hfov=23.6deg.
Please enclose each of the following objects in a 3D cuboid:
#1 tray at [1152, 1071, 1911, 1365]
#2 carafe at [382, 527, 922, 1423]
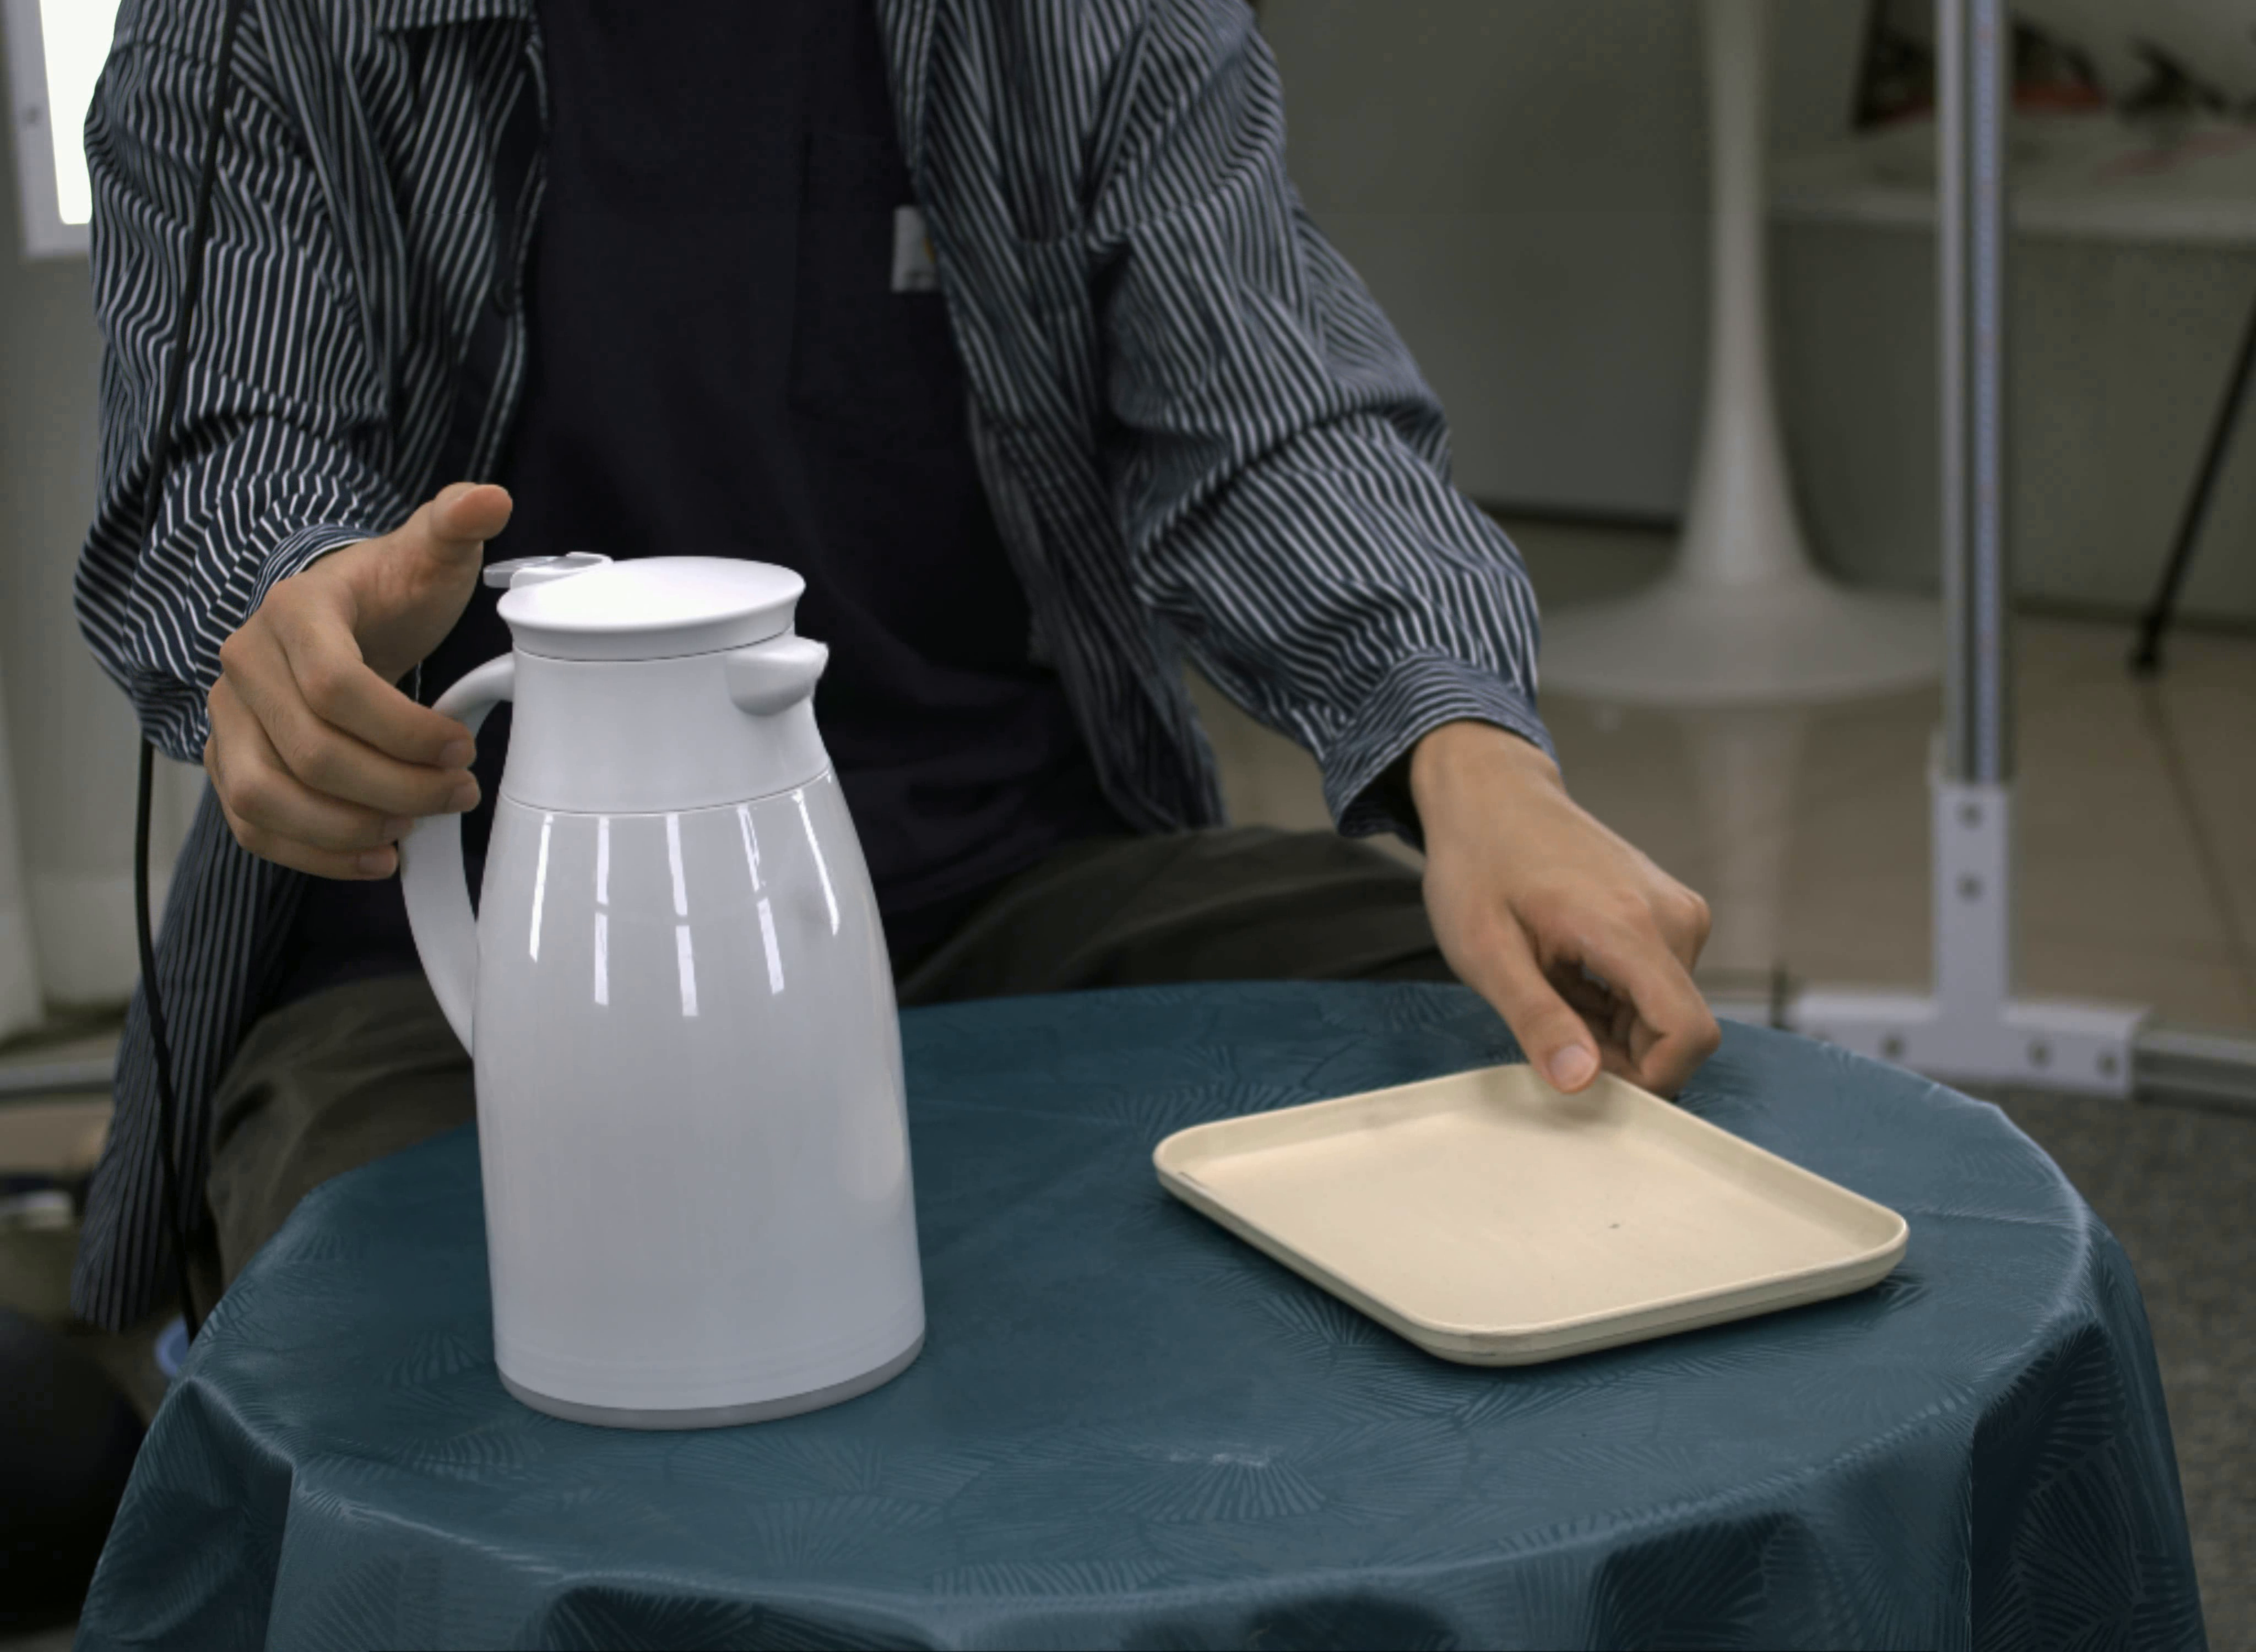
[{"bbox_3d":[0.123,0.122,1.693,0.167,0.017,0.242,-9,14,-22],"label":"tray"},{"bbox_3d":[-0.151,0.037,1.622,0.168,0.251,0.130,4,15,32],"label":"carafe"}]
